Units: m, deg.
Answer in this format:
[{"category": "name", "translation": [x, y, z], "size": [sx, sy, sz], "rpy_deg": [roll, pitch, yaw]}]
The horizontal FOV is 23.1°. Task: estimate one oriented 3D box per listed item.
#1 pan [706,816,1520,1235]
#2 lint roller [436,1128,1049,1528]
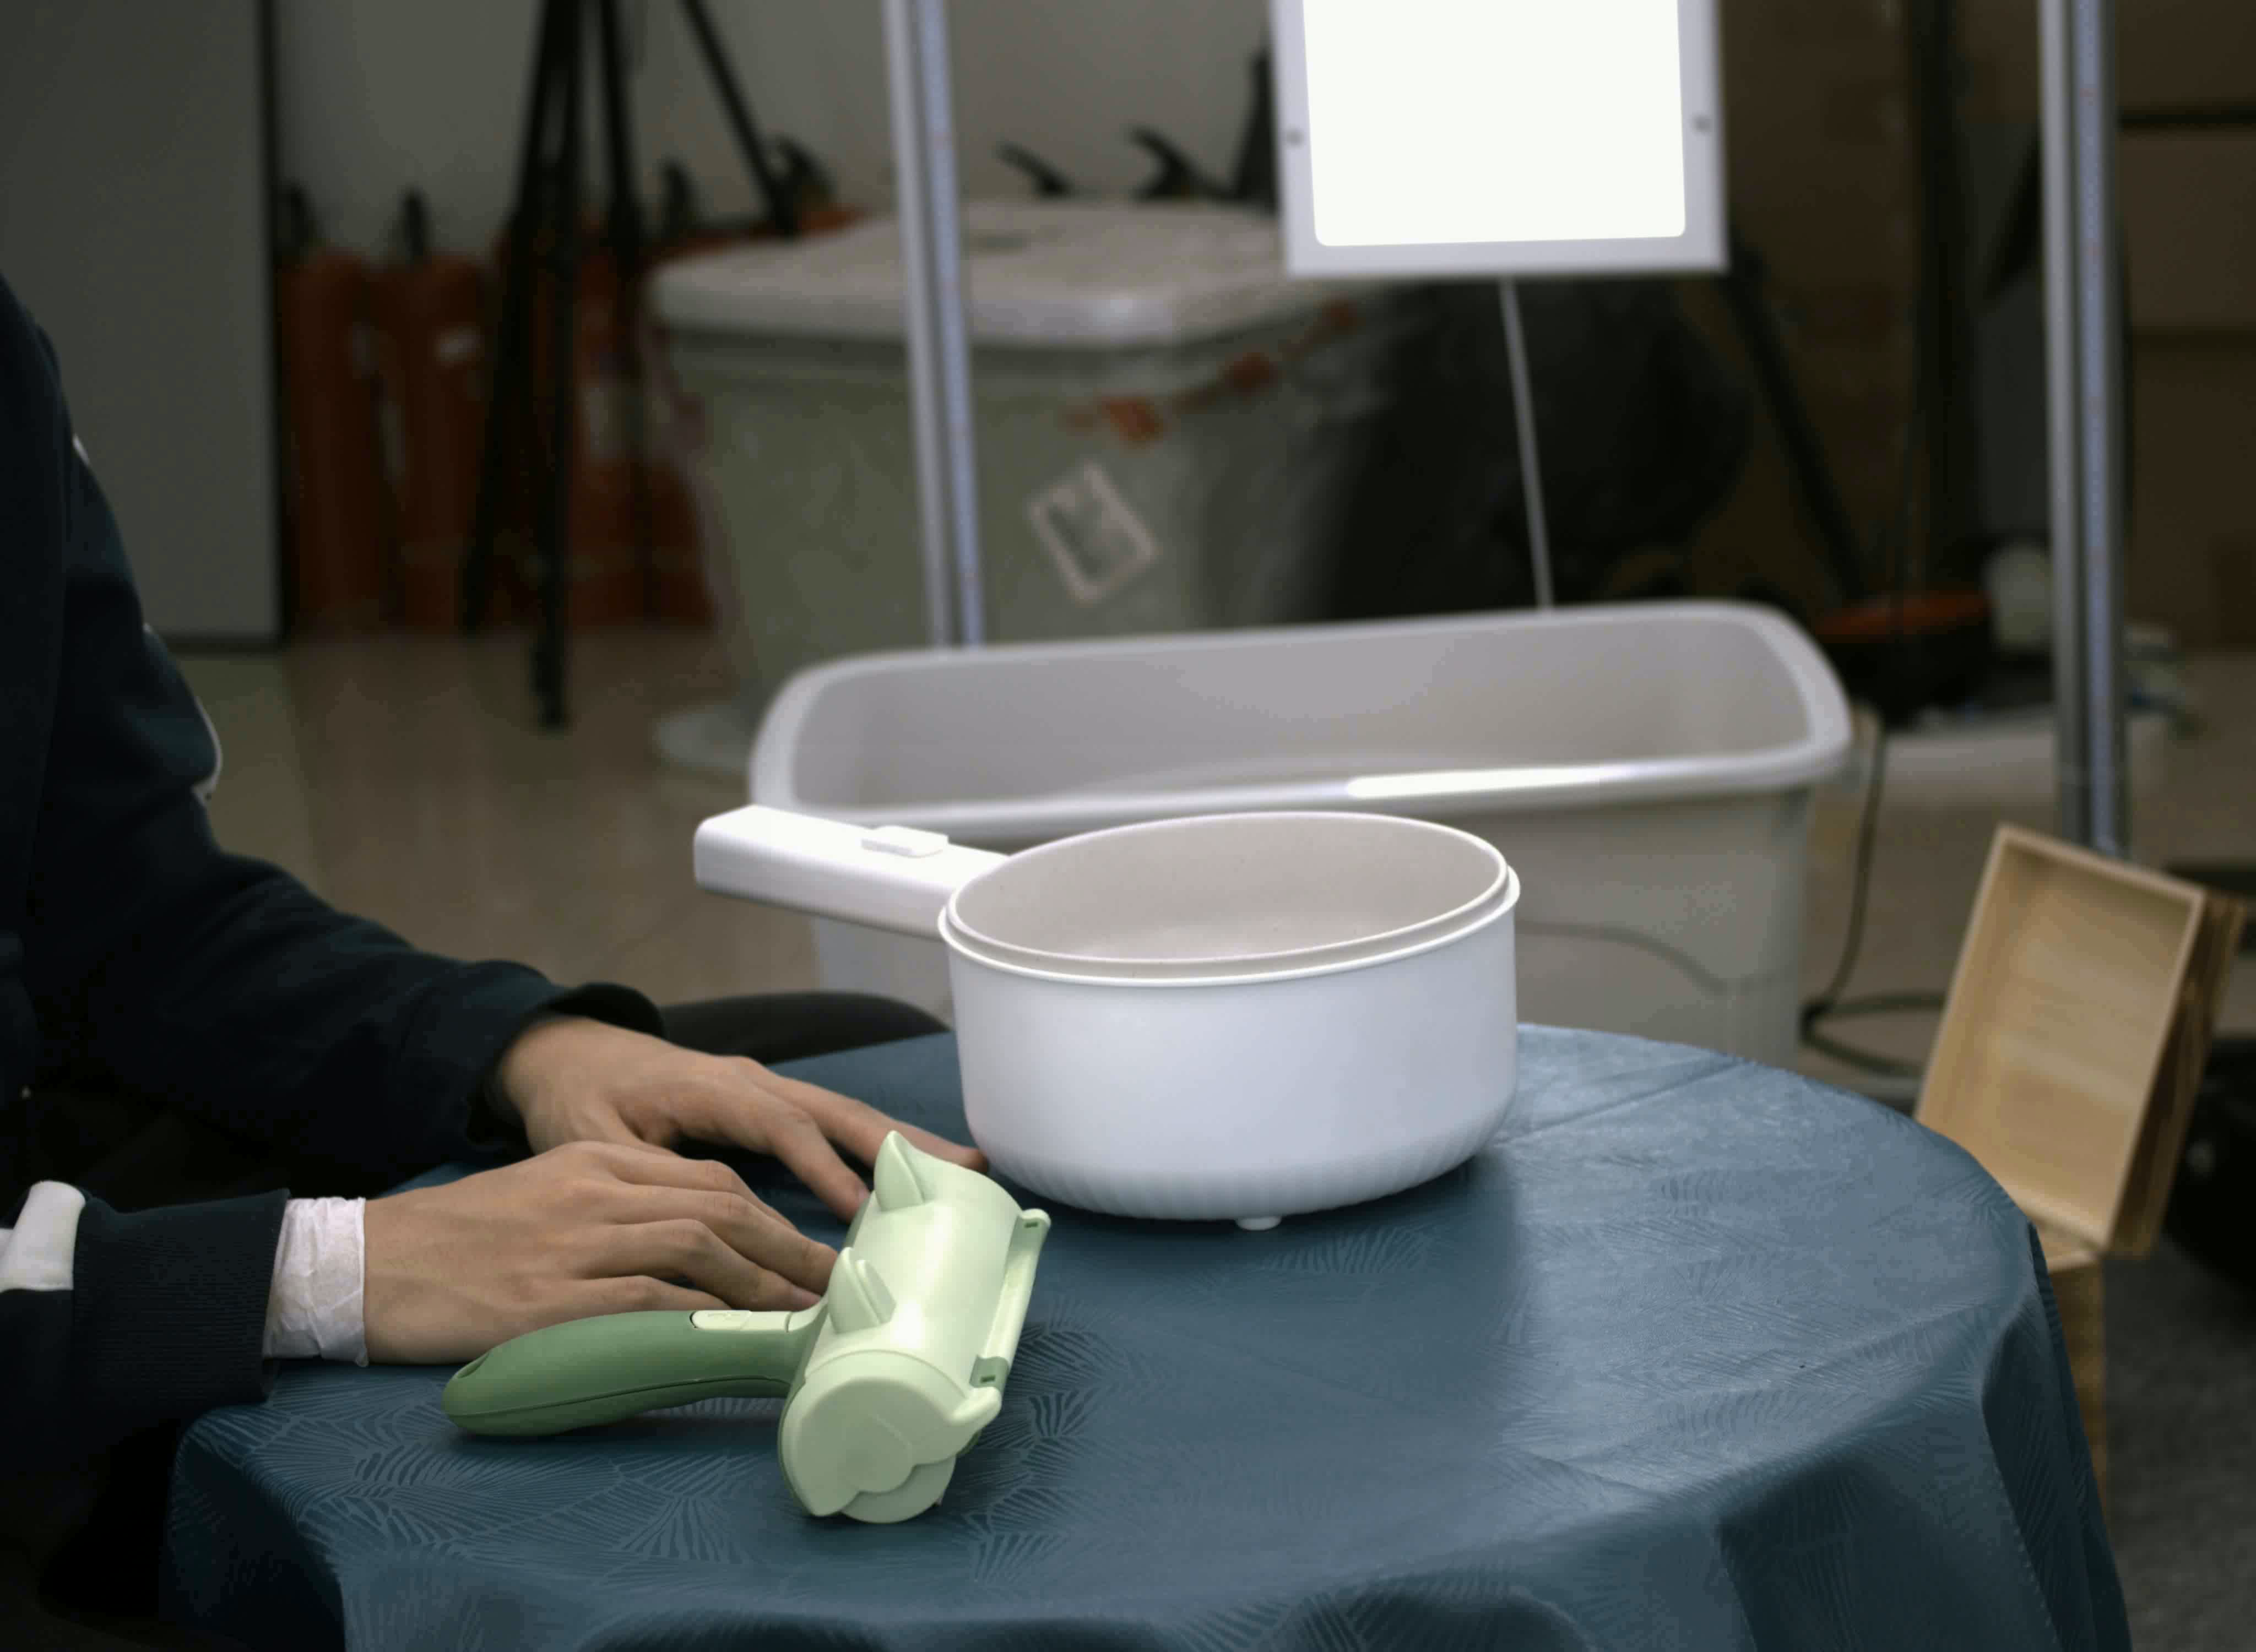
[{"category": "pan", "translation": [-0.017, 0.062, 1.961], "size": [0.362, 0.102, 0.196], "rpy_deg": [8, 19, 45]}, {"category": "lint roller", "translation": [-0.123, 0.148, 1.694], "size": [0.184, 0.082, 0.197], "rpy_deg": [2, 15, 5]}]
